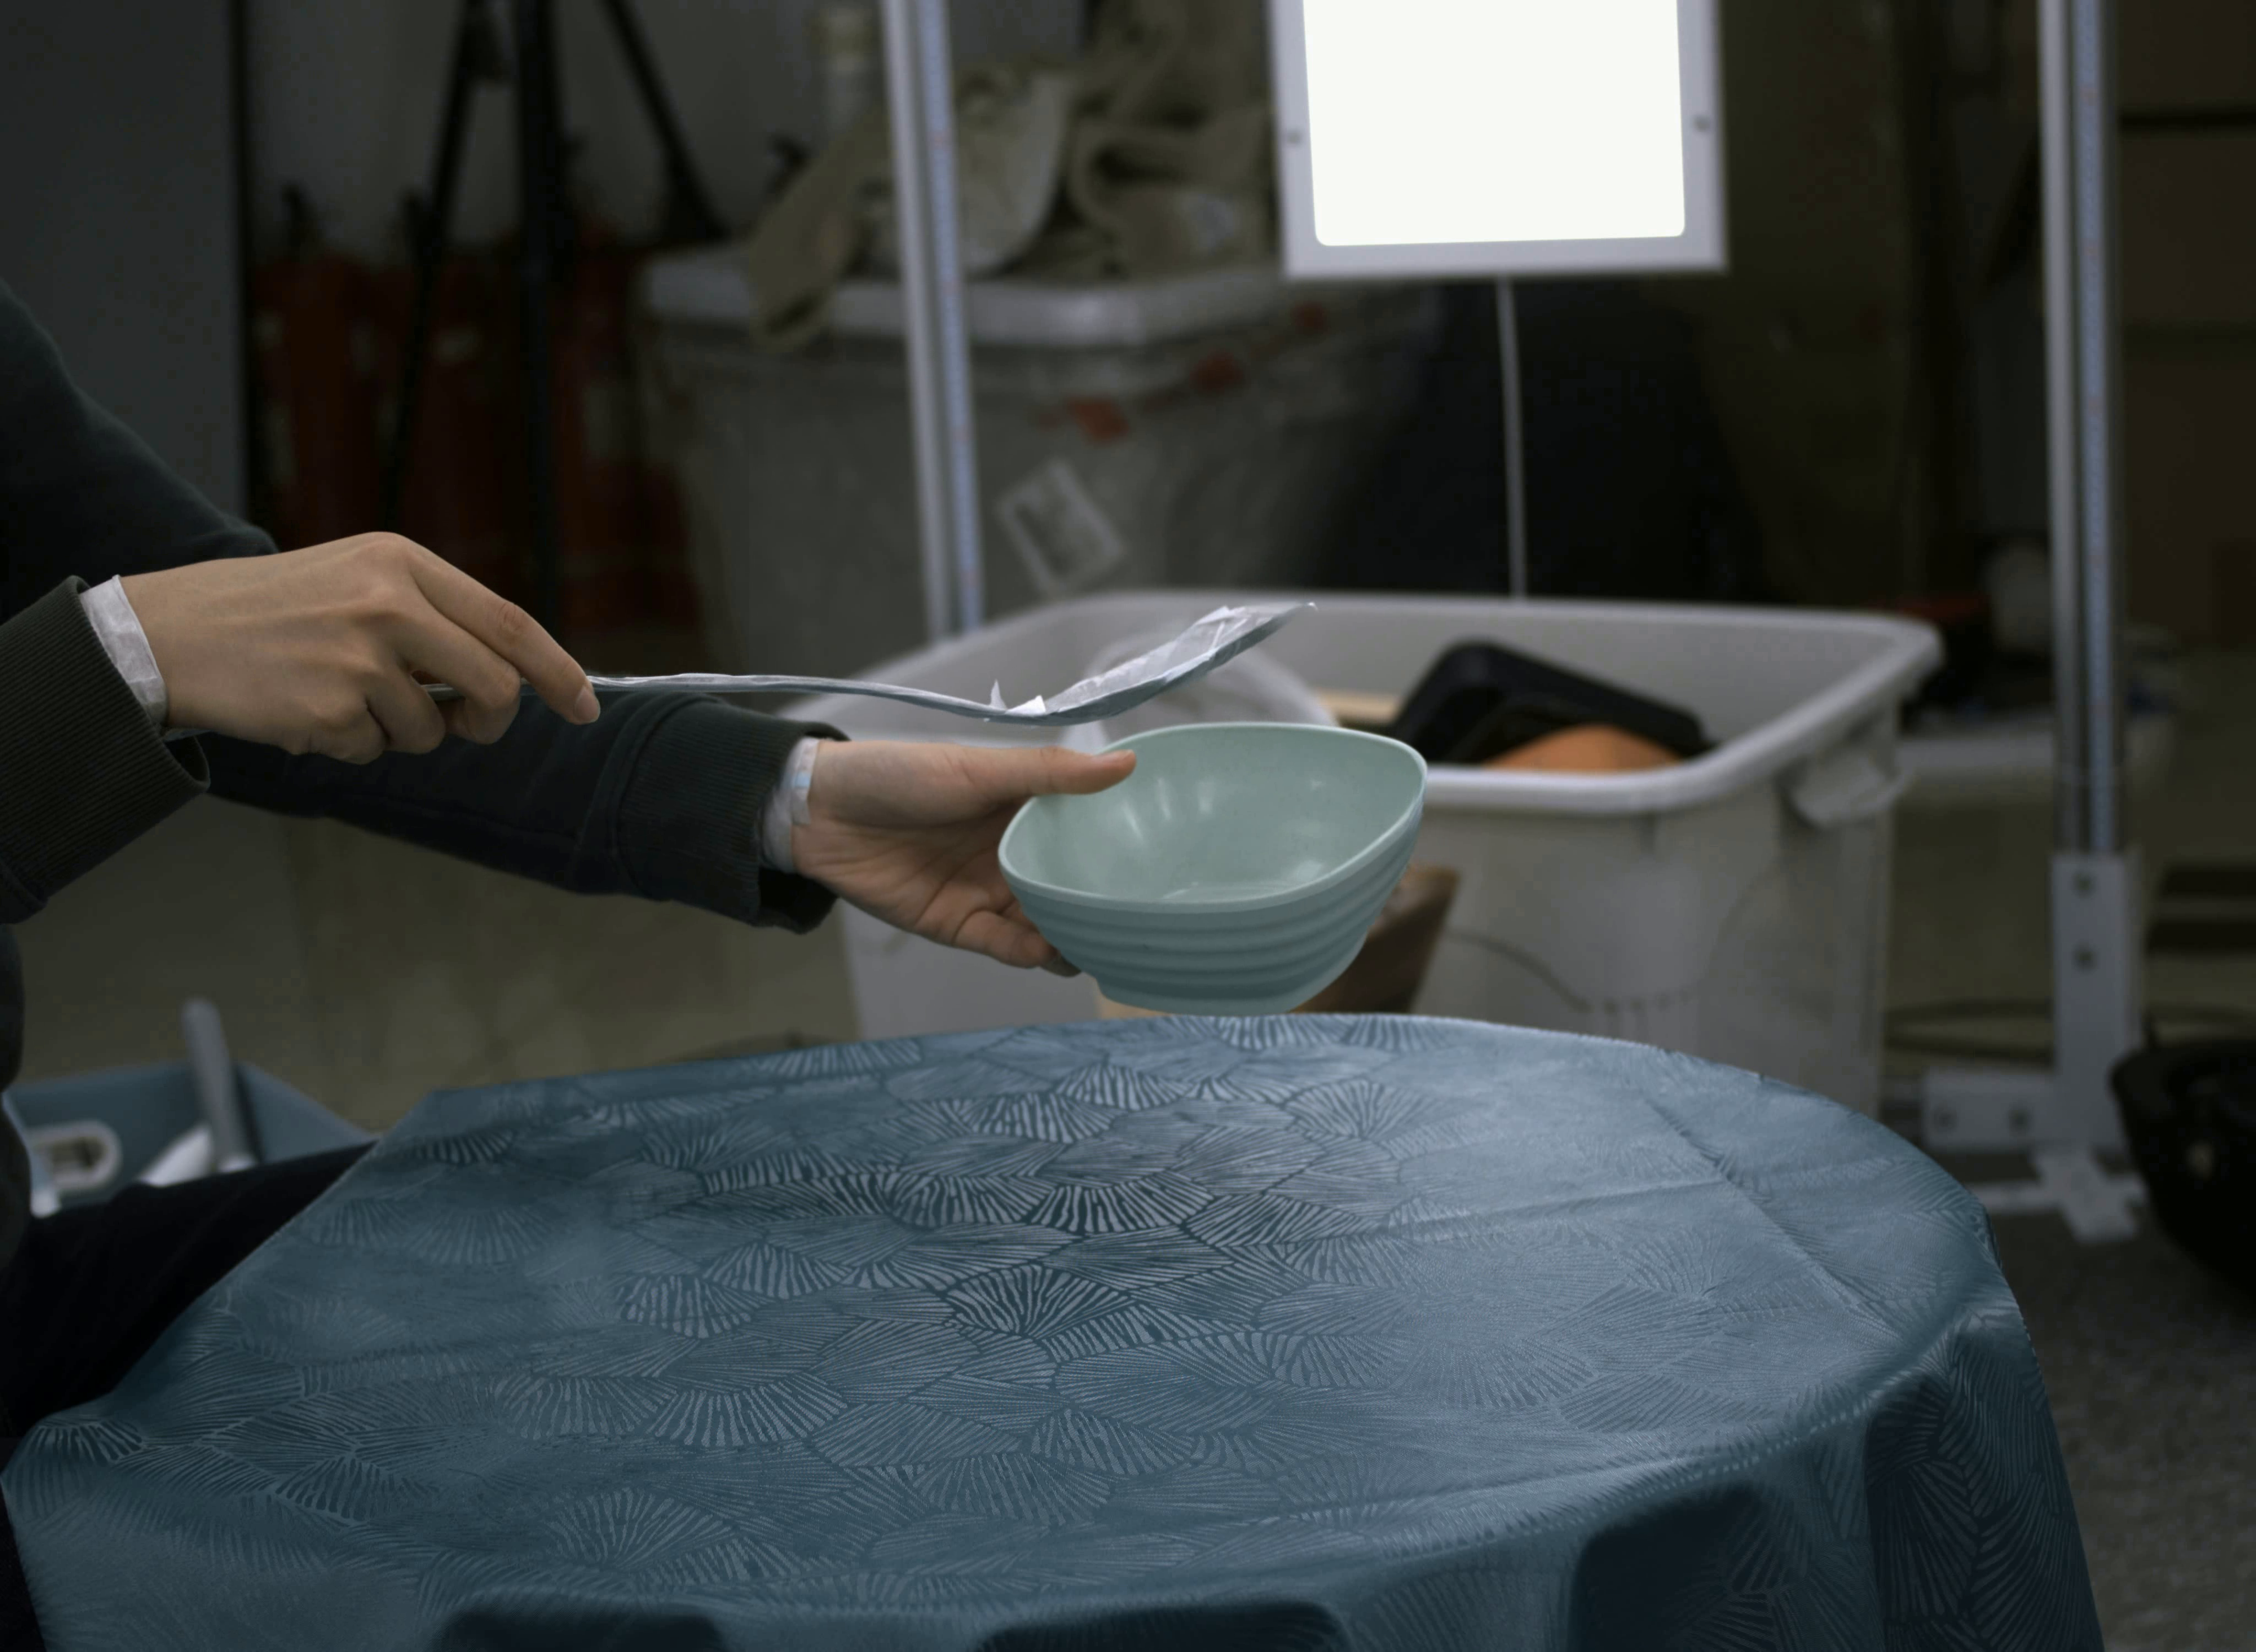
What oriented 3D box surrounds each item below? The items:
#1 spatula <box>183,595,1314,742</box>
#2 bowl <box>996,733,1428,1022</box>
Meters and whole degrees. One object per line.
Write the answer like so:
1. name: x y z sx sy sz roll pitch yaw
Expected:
1. spatula: -0.118 -0.050 1.755 0.359 0.045 0.100 -1 1 -14
2. bowl: 0.032 0.022 1.862 0.151 0.059 0.151 -8 23 2
